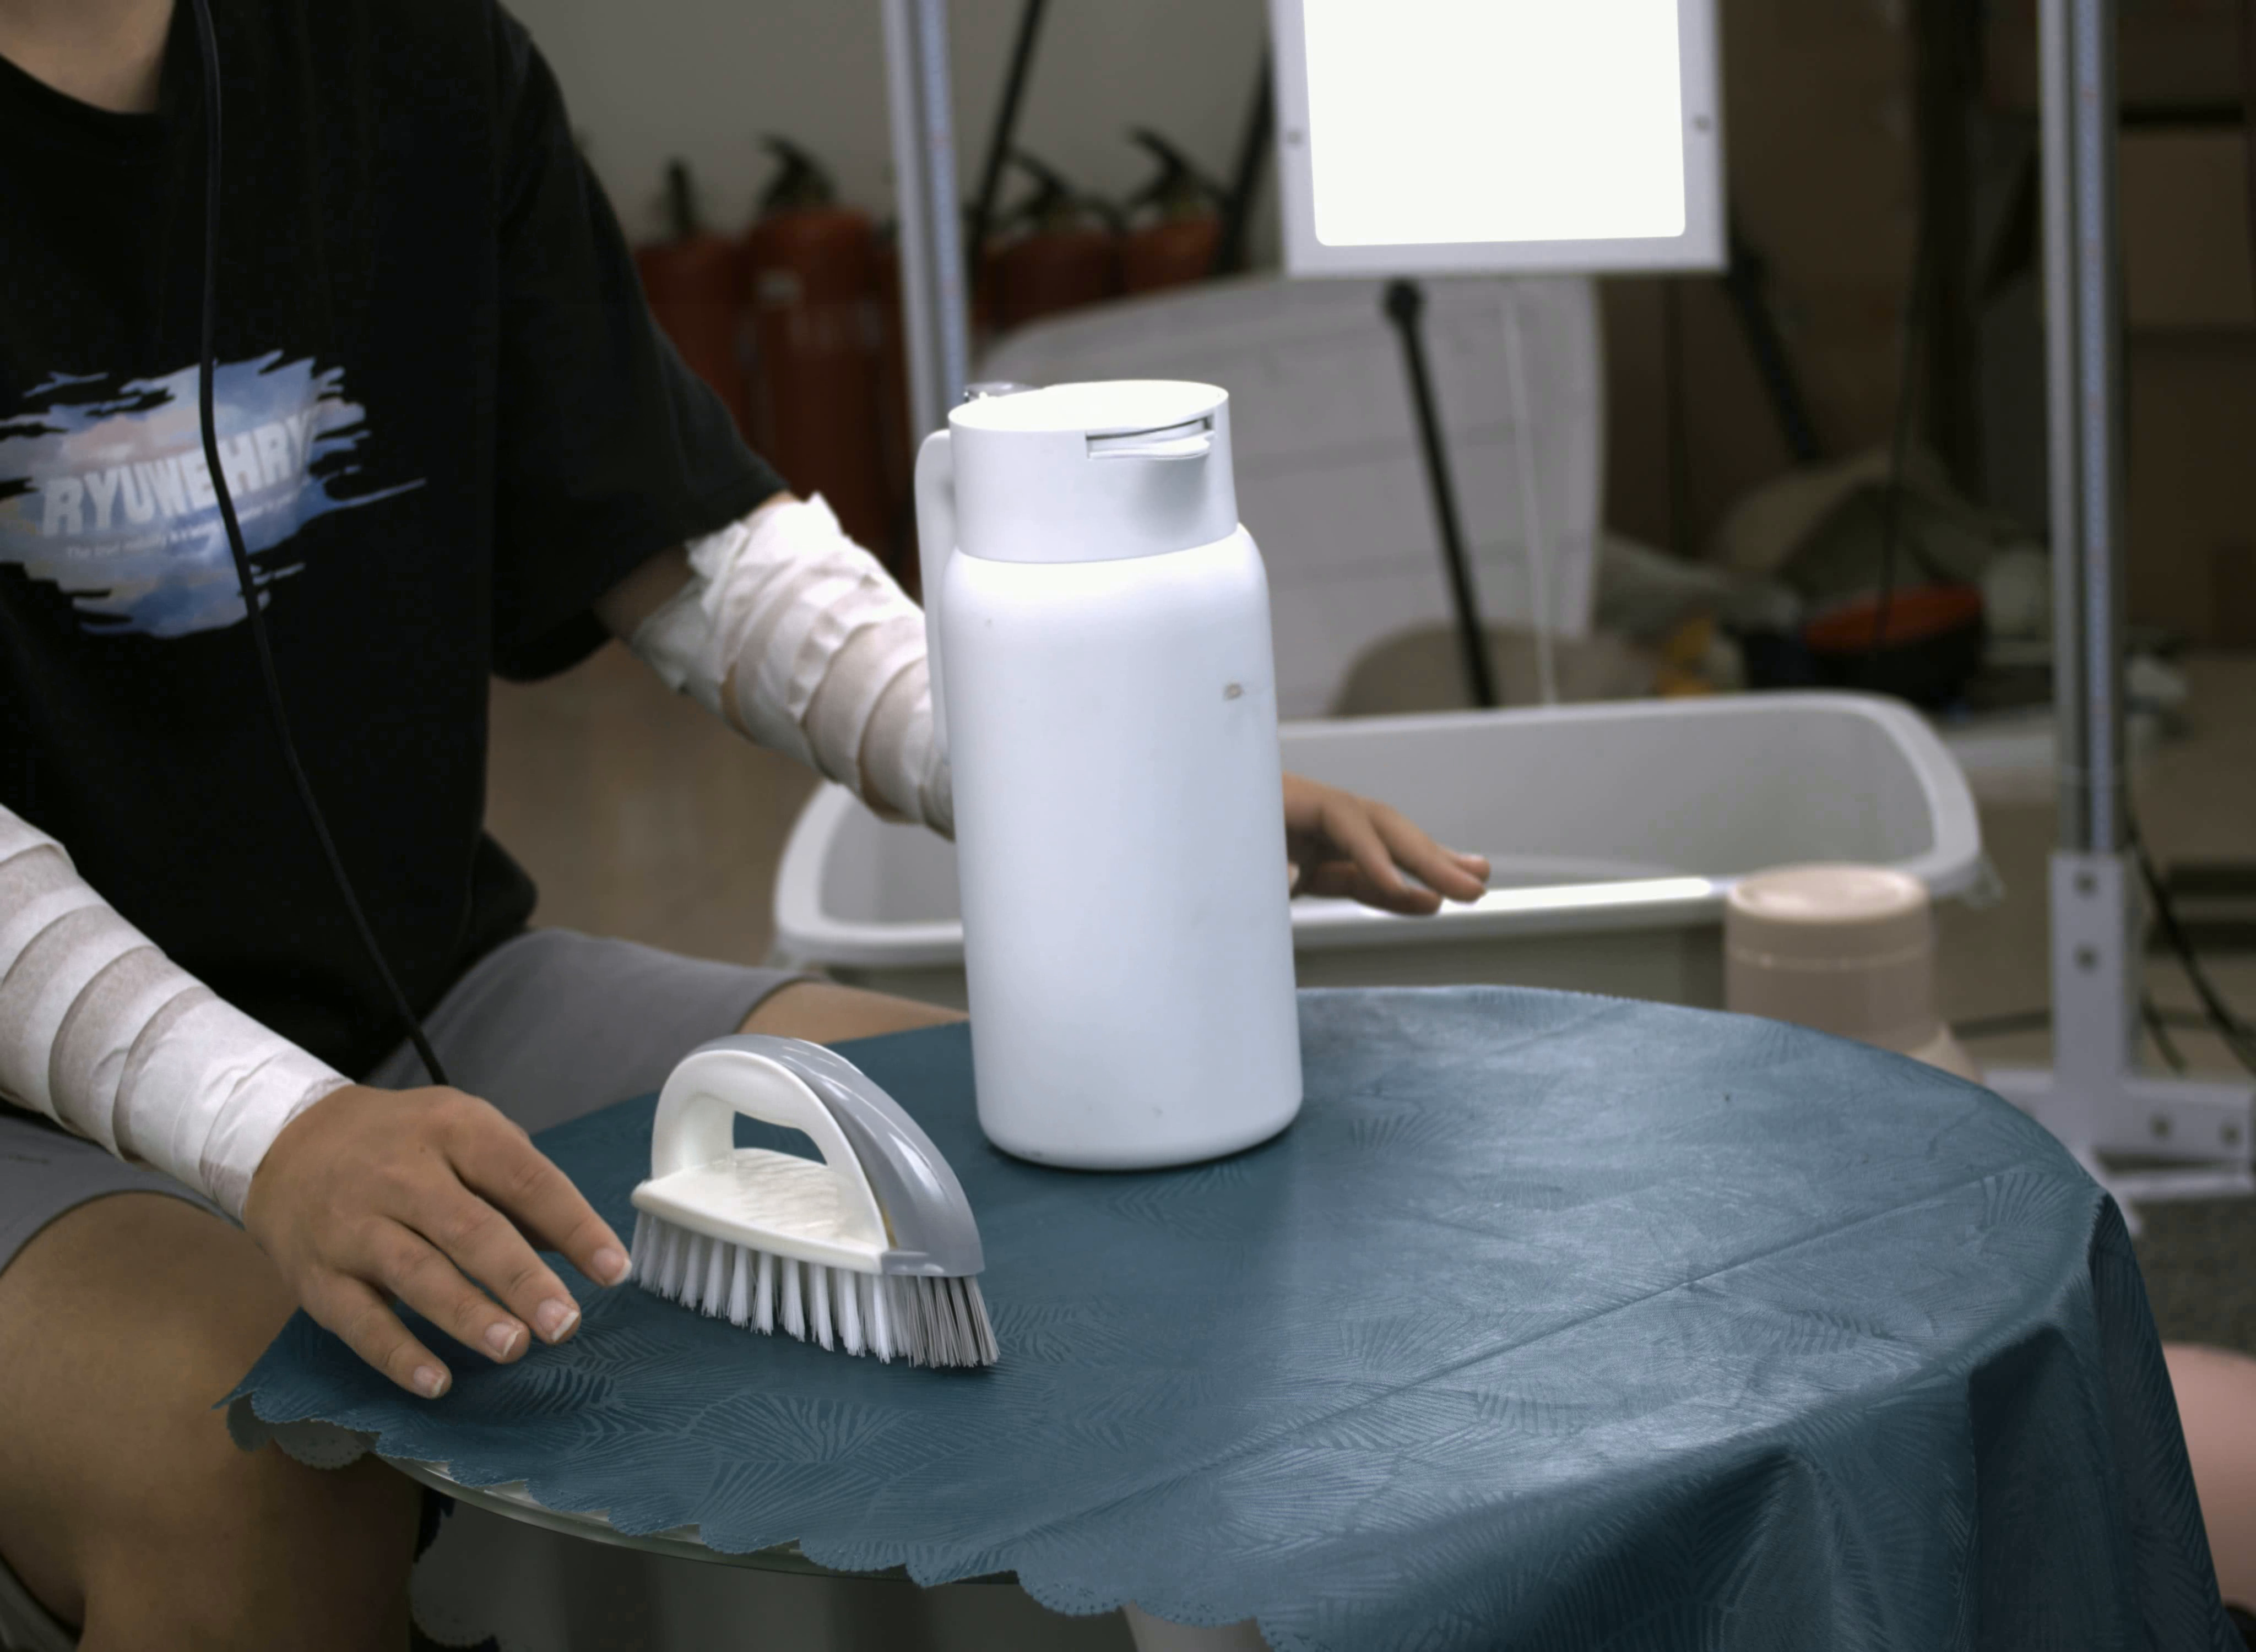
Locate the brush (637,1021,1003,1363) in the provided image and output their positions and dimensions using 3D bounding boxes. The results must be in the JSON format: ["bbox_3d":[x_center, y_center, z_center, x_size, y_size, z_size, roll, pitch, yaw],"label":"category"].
[{"bbox_3d":[-0.098,0.115,1.788,0.060,0.094,0.179,-16,19,-33],"label":"brush"}]

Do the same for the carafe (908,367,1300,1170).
[{"bbox_3d":[-0.016,-0.023,1.951,0.121,0.270,0.176,-15,17,-31],"label":"carafe"}]
